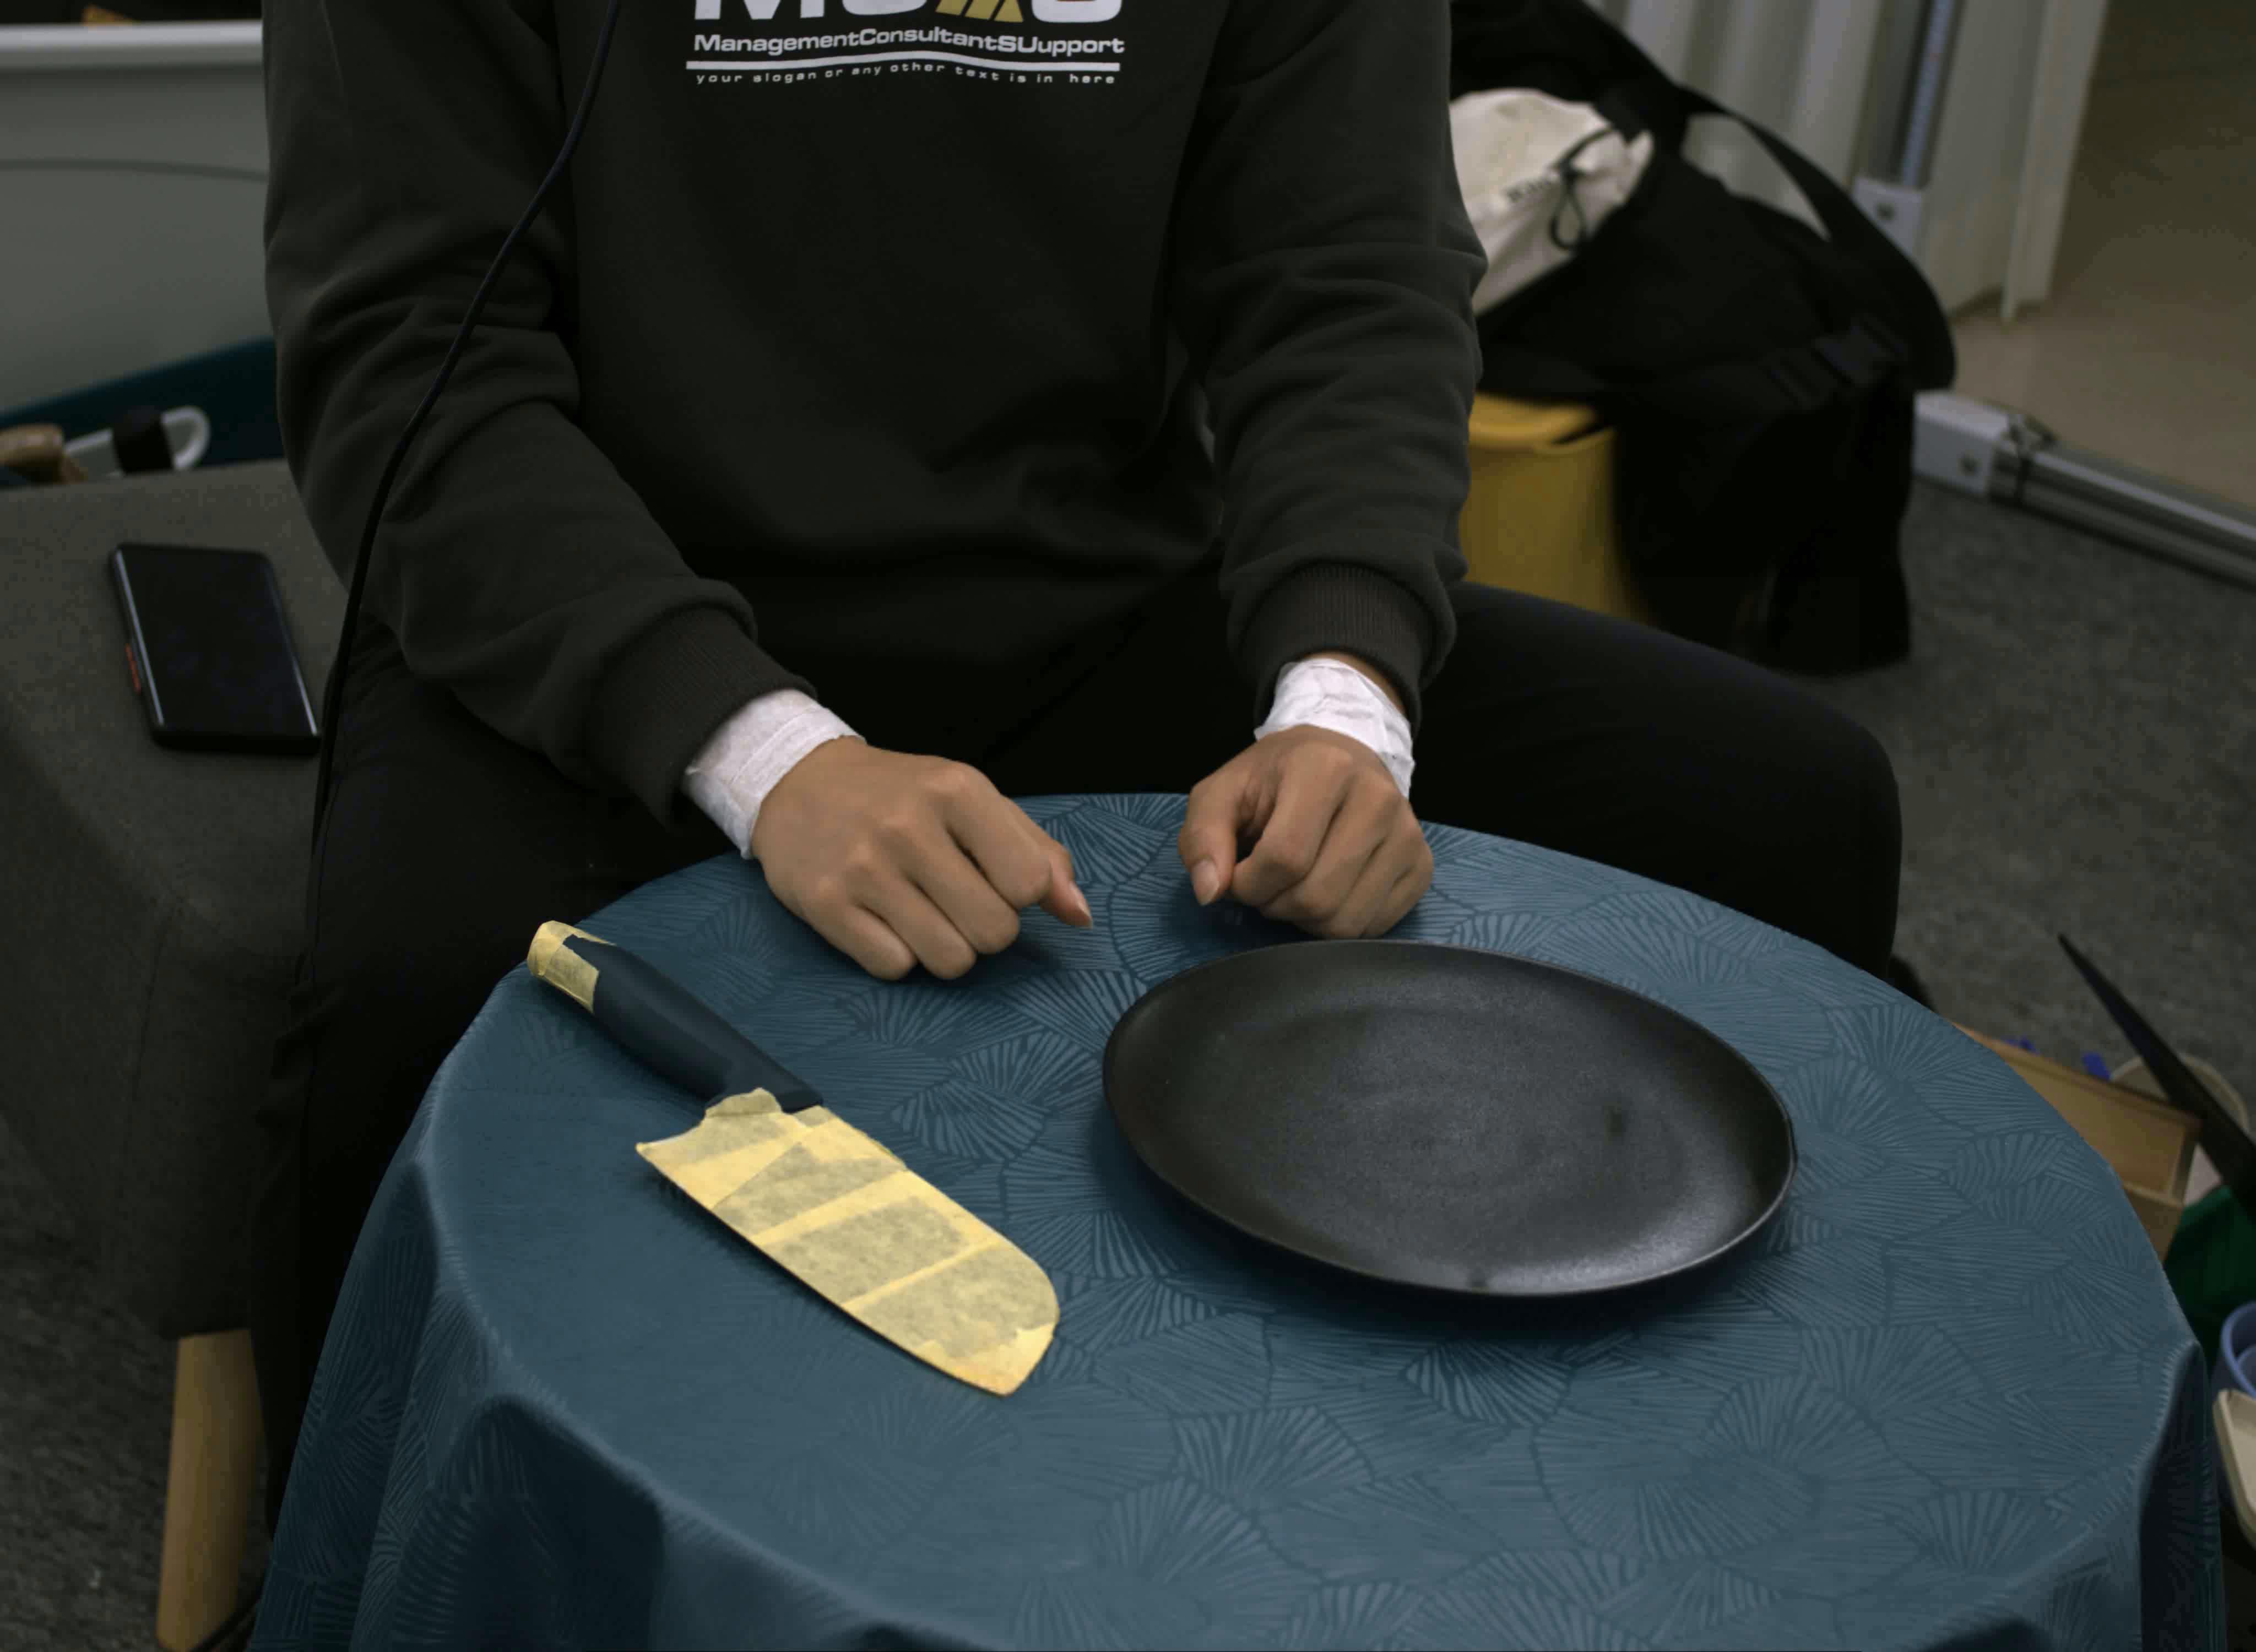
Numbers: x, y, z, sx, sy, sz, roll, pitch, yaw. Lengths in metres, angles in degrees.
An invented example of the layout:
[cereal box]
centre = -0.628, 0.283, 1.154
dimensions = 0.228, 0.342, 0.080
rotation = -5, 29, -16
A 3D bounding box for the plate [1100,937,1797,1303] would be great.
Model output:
[plate]
centre = 0.109, 0.105, 1.841
dimensions = 0.243, 0.023, 0.246
rotation = 5, 27, -3

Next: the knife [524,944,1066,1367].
[knife]
centre = -0.122, 0.111, 1.787
dimensions = 0.080, 0.027, 0.292
rotation = -15, 34, -39
